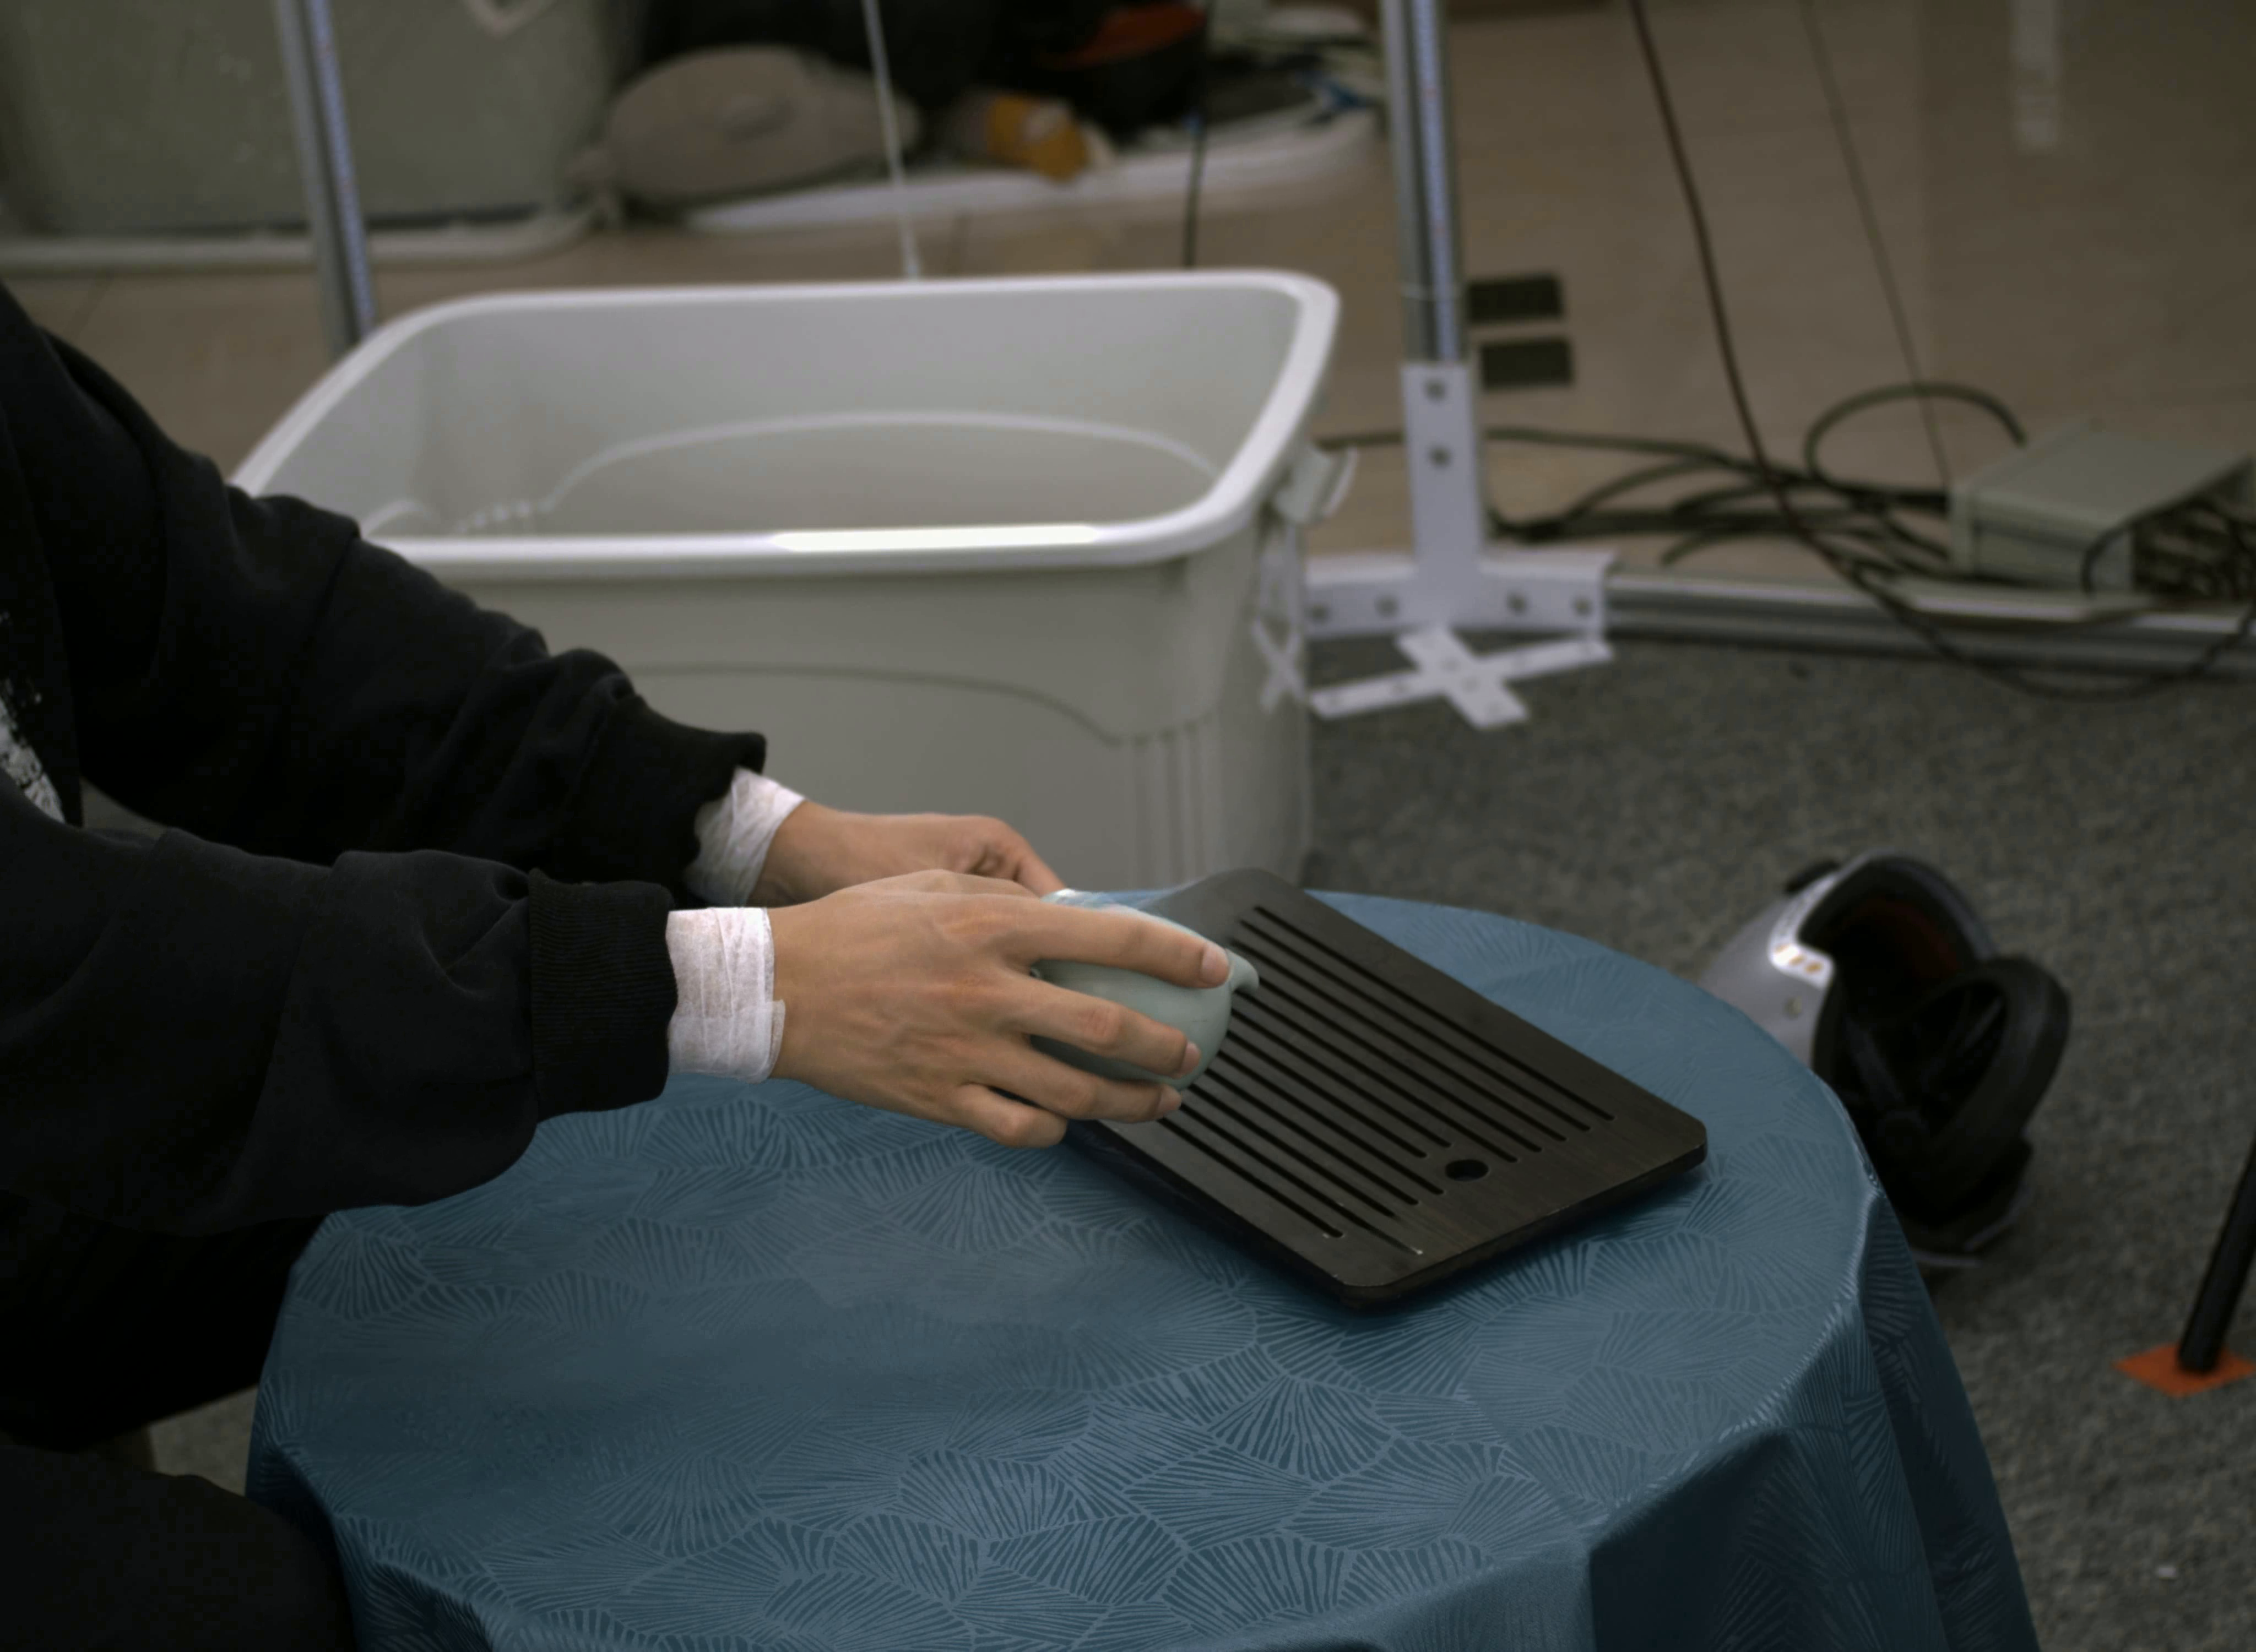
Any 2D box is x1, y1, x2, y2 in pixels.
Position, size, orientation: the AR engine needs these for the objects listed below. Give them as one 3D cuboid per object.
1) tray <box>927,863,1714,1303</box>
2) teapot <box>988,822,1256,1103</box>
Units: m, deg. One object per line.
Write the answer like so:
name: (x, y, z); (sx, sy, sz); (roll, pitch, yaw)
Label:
tray: (0.070, 0.096, 2.188); (0.169, 0.019, 0.302); (-21, 31, -28)
teapot: (-0.007, 0.059, 2.053); (0.088, 0.145, 0.074); (13, 73, 43)
